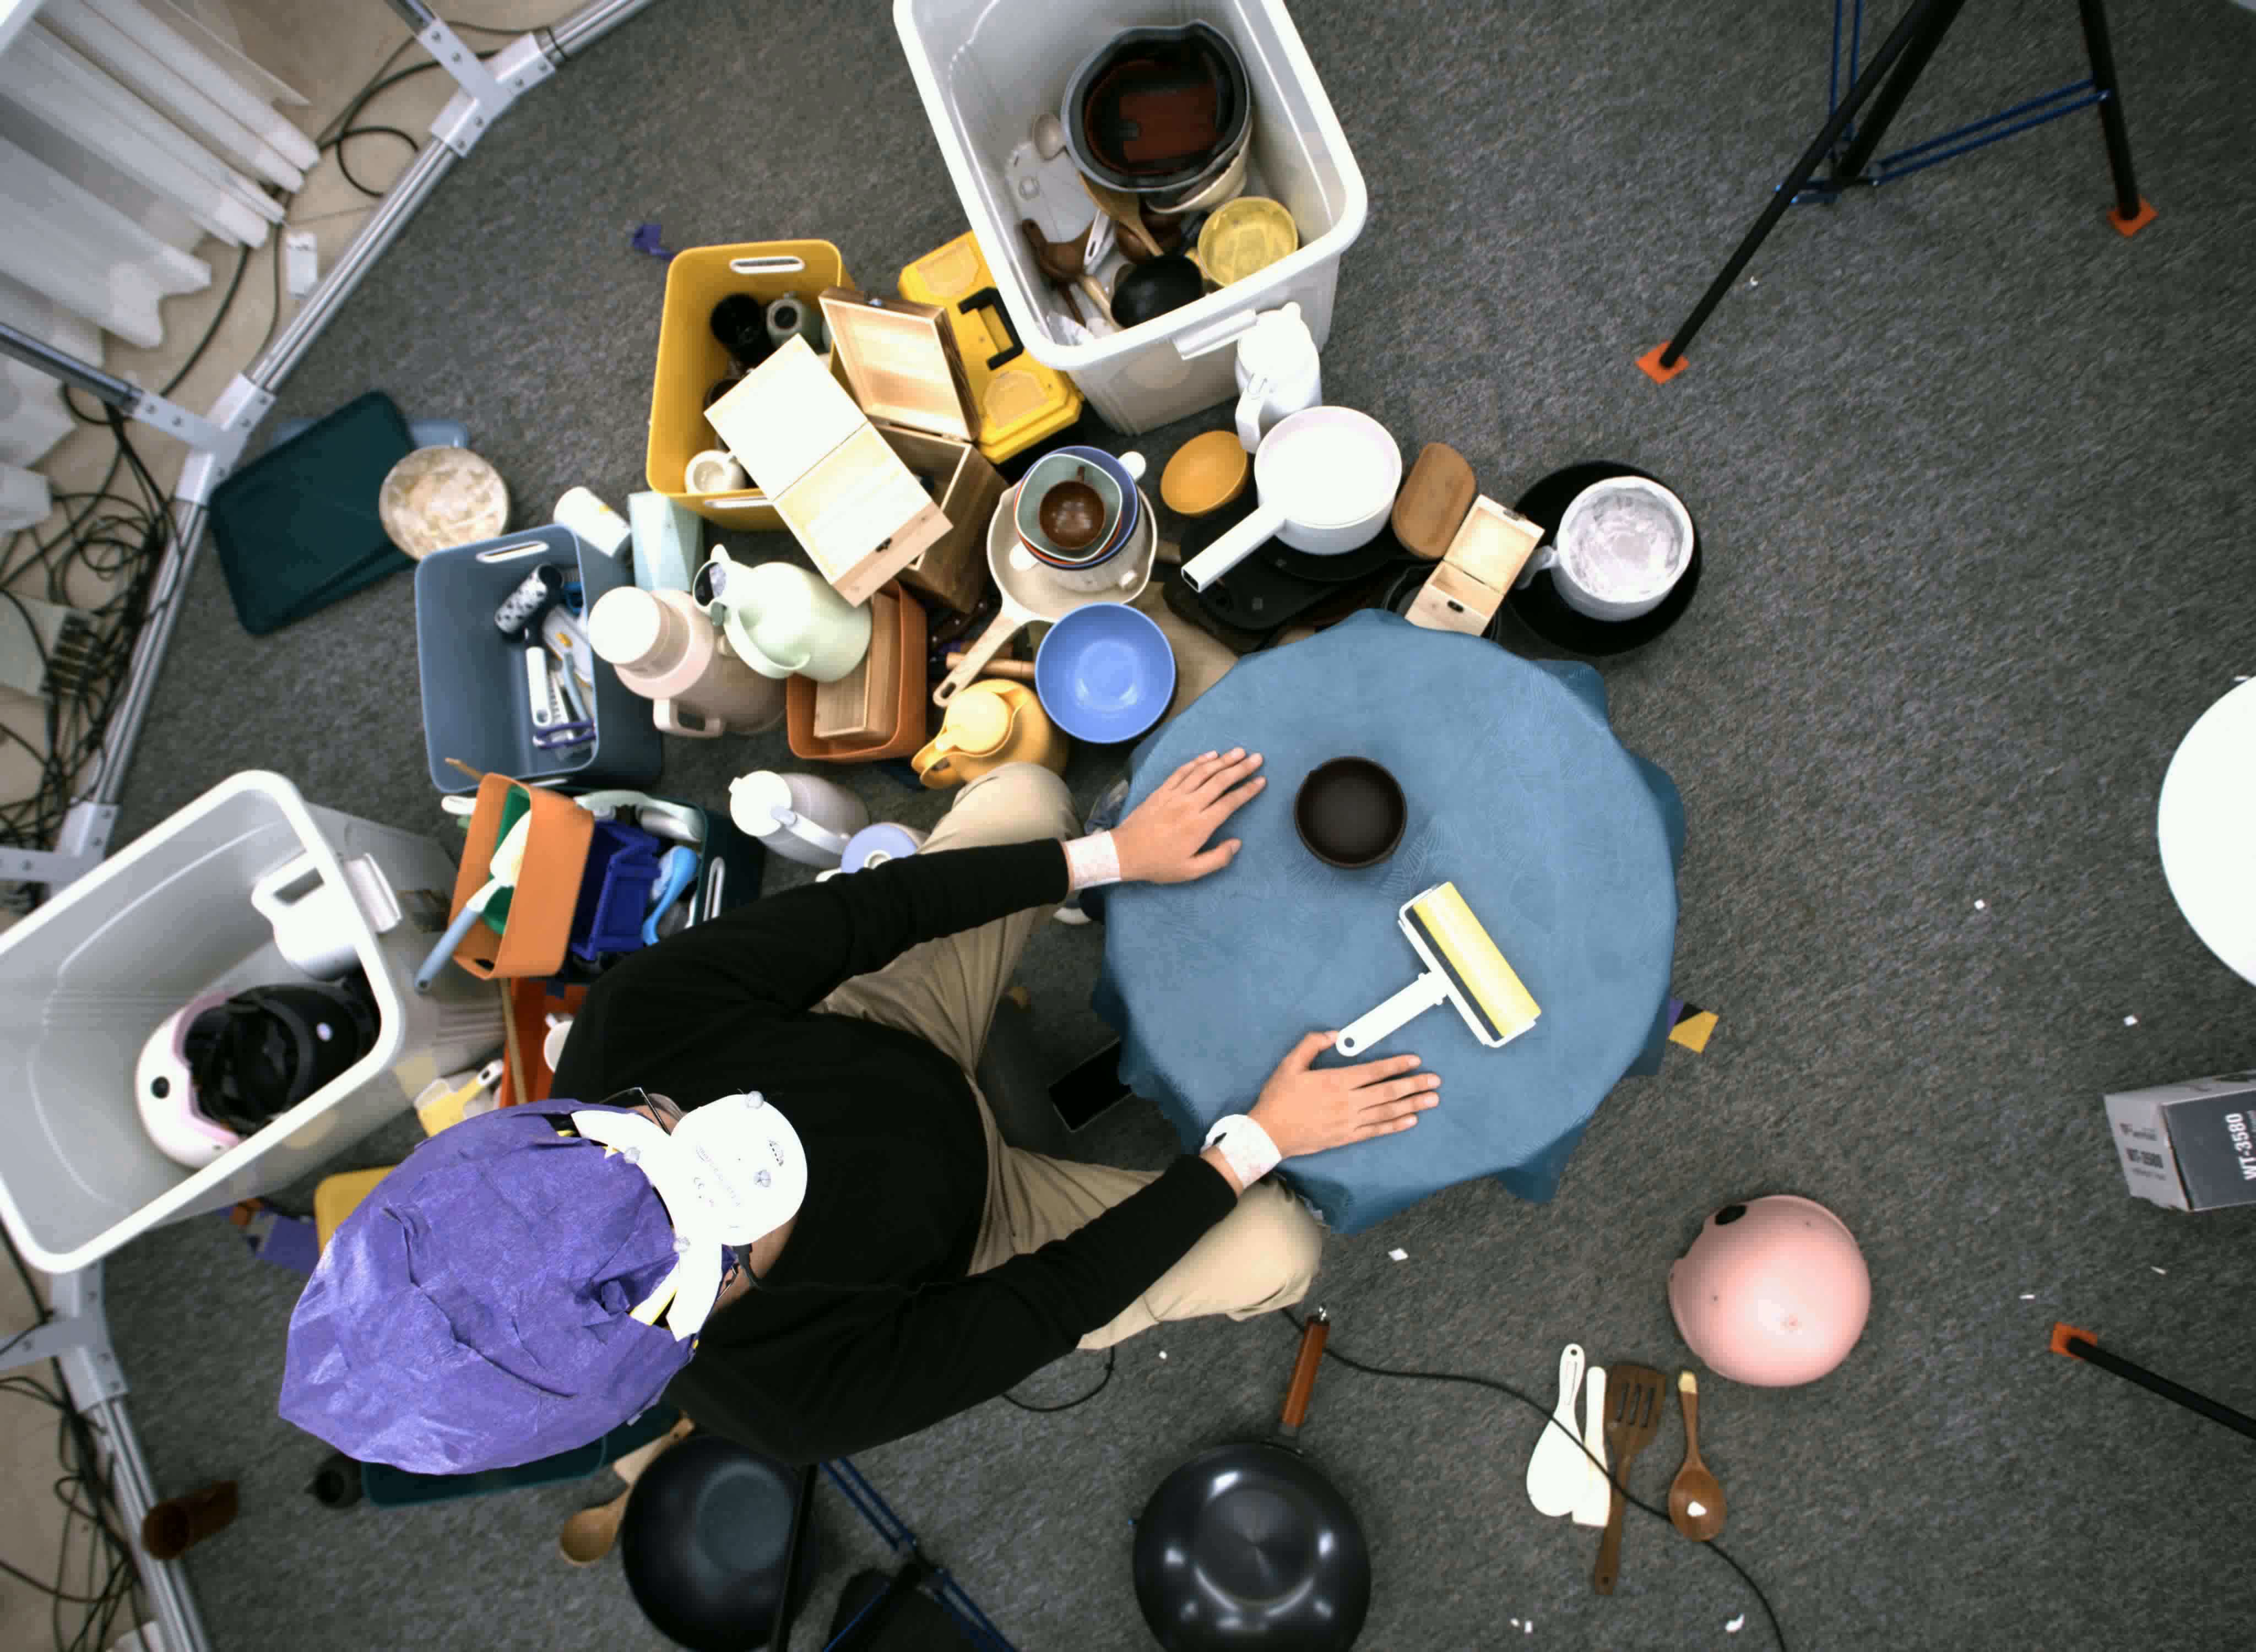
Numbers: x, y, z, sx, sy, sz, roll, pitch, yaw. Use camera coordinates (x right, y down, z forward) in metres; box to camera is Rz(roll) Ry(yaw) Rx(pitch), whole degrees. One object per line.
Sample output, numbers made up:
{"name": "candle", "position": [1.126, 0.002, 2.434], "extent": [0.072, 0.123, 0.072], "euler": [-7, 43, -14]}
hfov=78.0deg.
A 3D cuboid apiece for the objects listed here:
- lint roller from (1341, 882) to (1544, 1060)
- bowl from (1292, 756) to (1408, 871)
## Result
{"name": "lint roller", "position": [0.301, 0.177, 1.422], "extent": [0.192, 0.051, 0.173], "euler": [-36, 80, 2]}
{"name": "bowl", "position": [0.230, -0.012, 1.434], "extent": [0.118, 0.070, 0.117], "euler": [-1, 85, 10]}
